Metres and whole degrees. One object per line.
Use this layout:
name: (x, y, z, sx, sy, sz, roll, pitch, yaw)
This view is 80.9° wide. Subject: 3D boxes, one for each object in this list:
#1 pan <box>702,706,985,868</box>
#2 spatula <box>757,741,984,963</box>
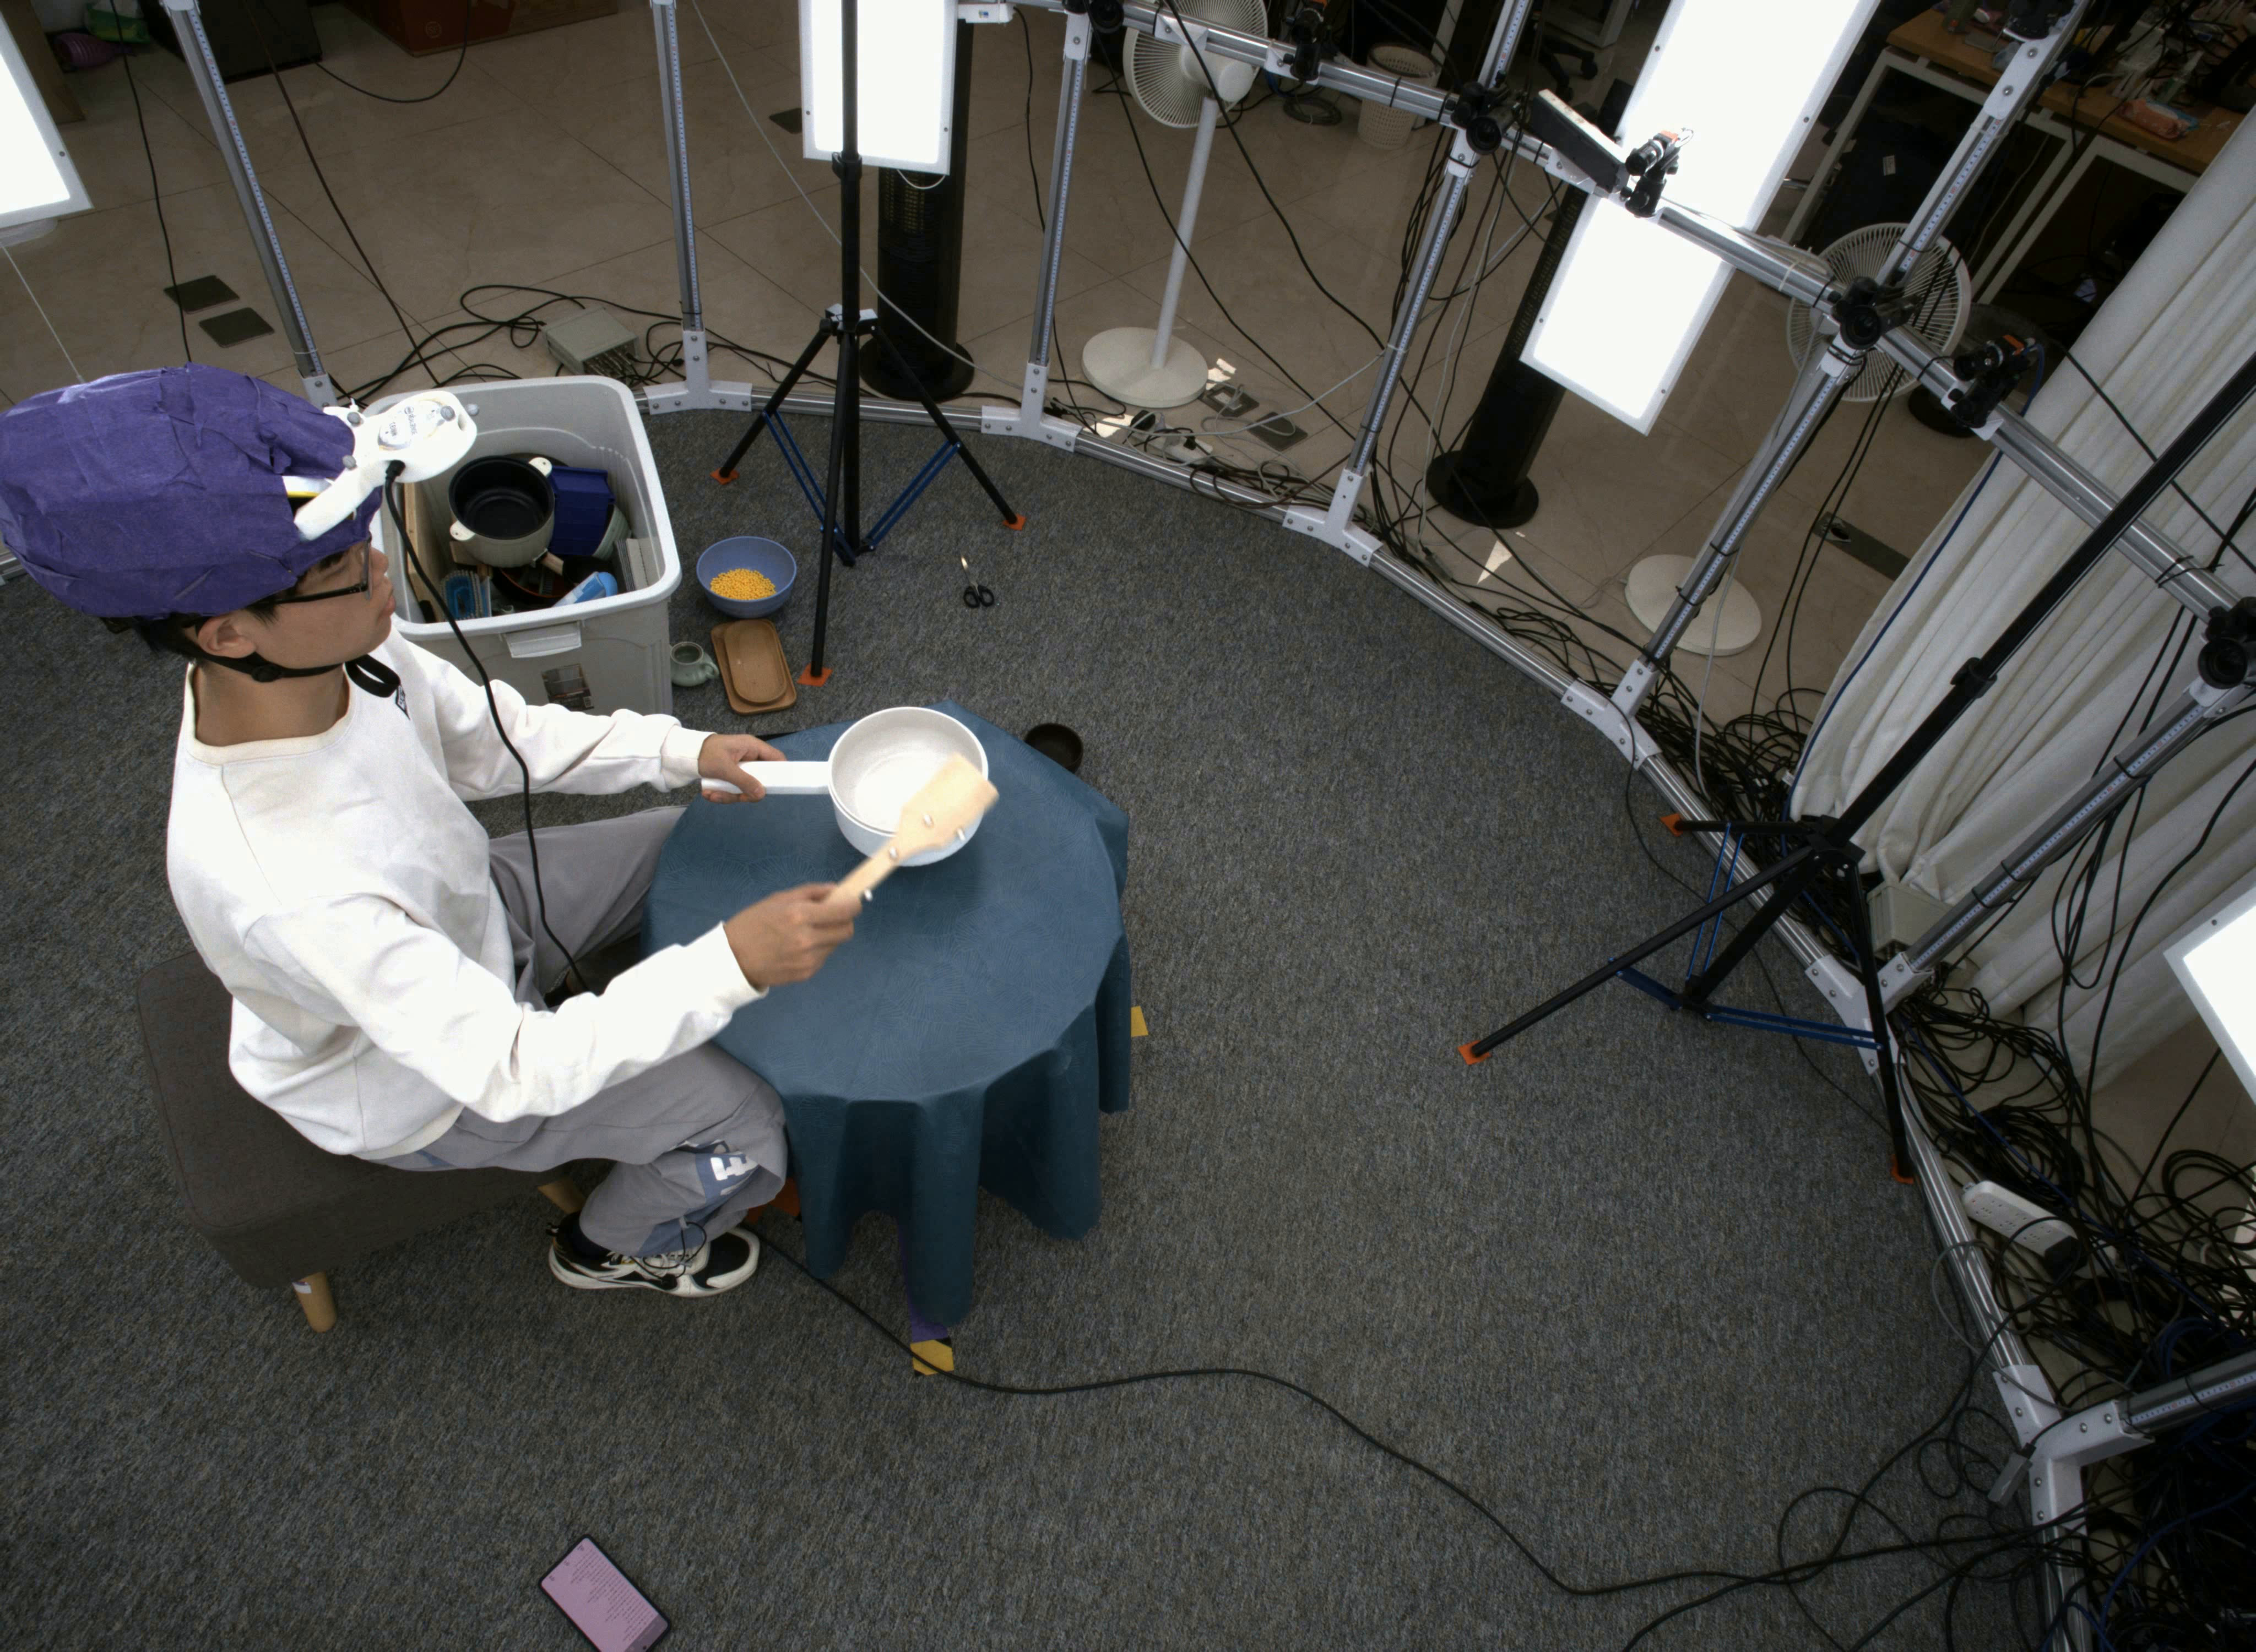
pan: (-0.360, -0.044, 1.670, 0.353, 0.104, 0.198, -1, 59, -8)
spatula: (-0.271, 0.032, 1.347, 0.070, 0.011, 0.293, 41, 78, 17)
